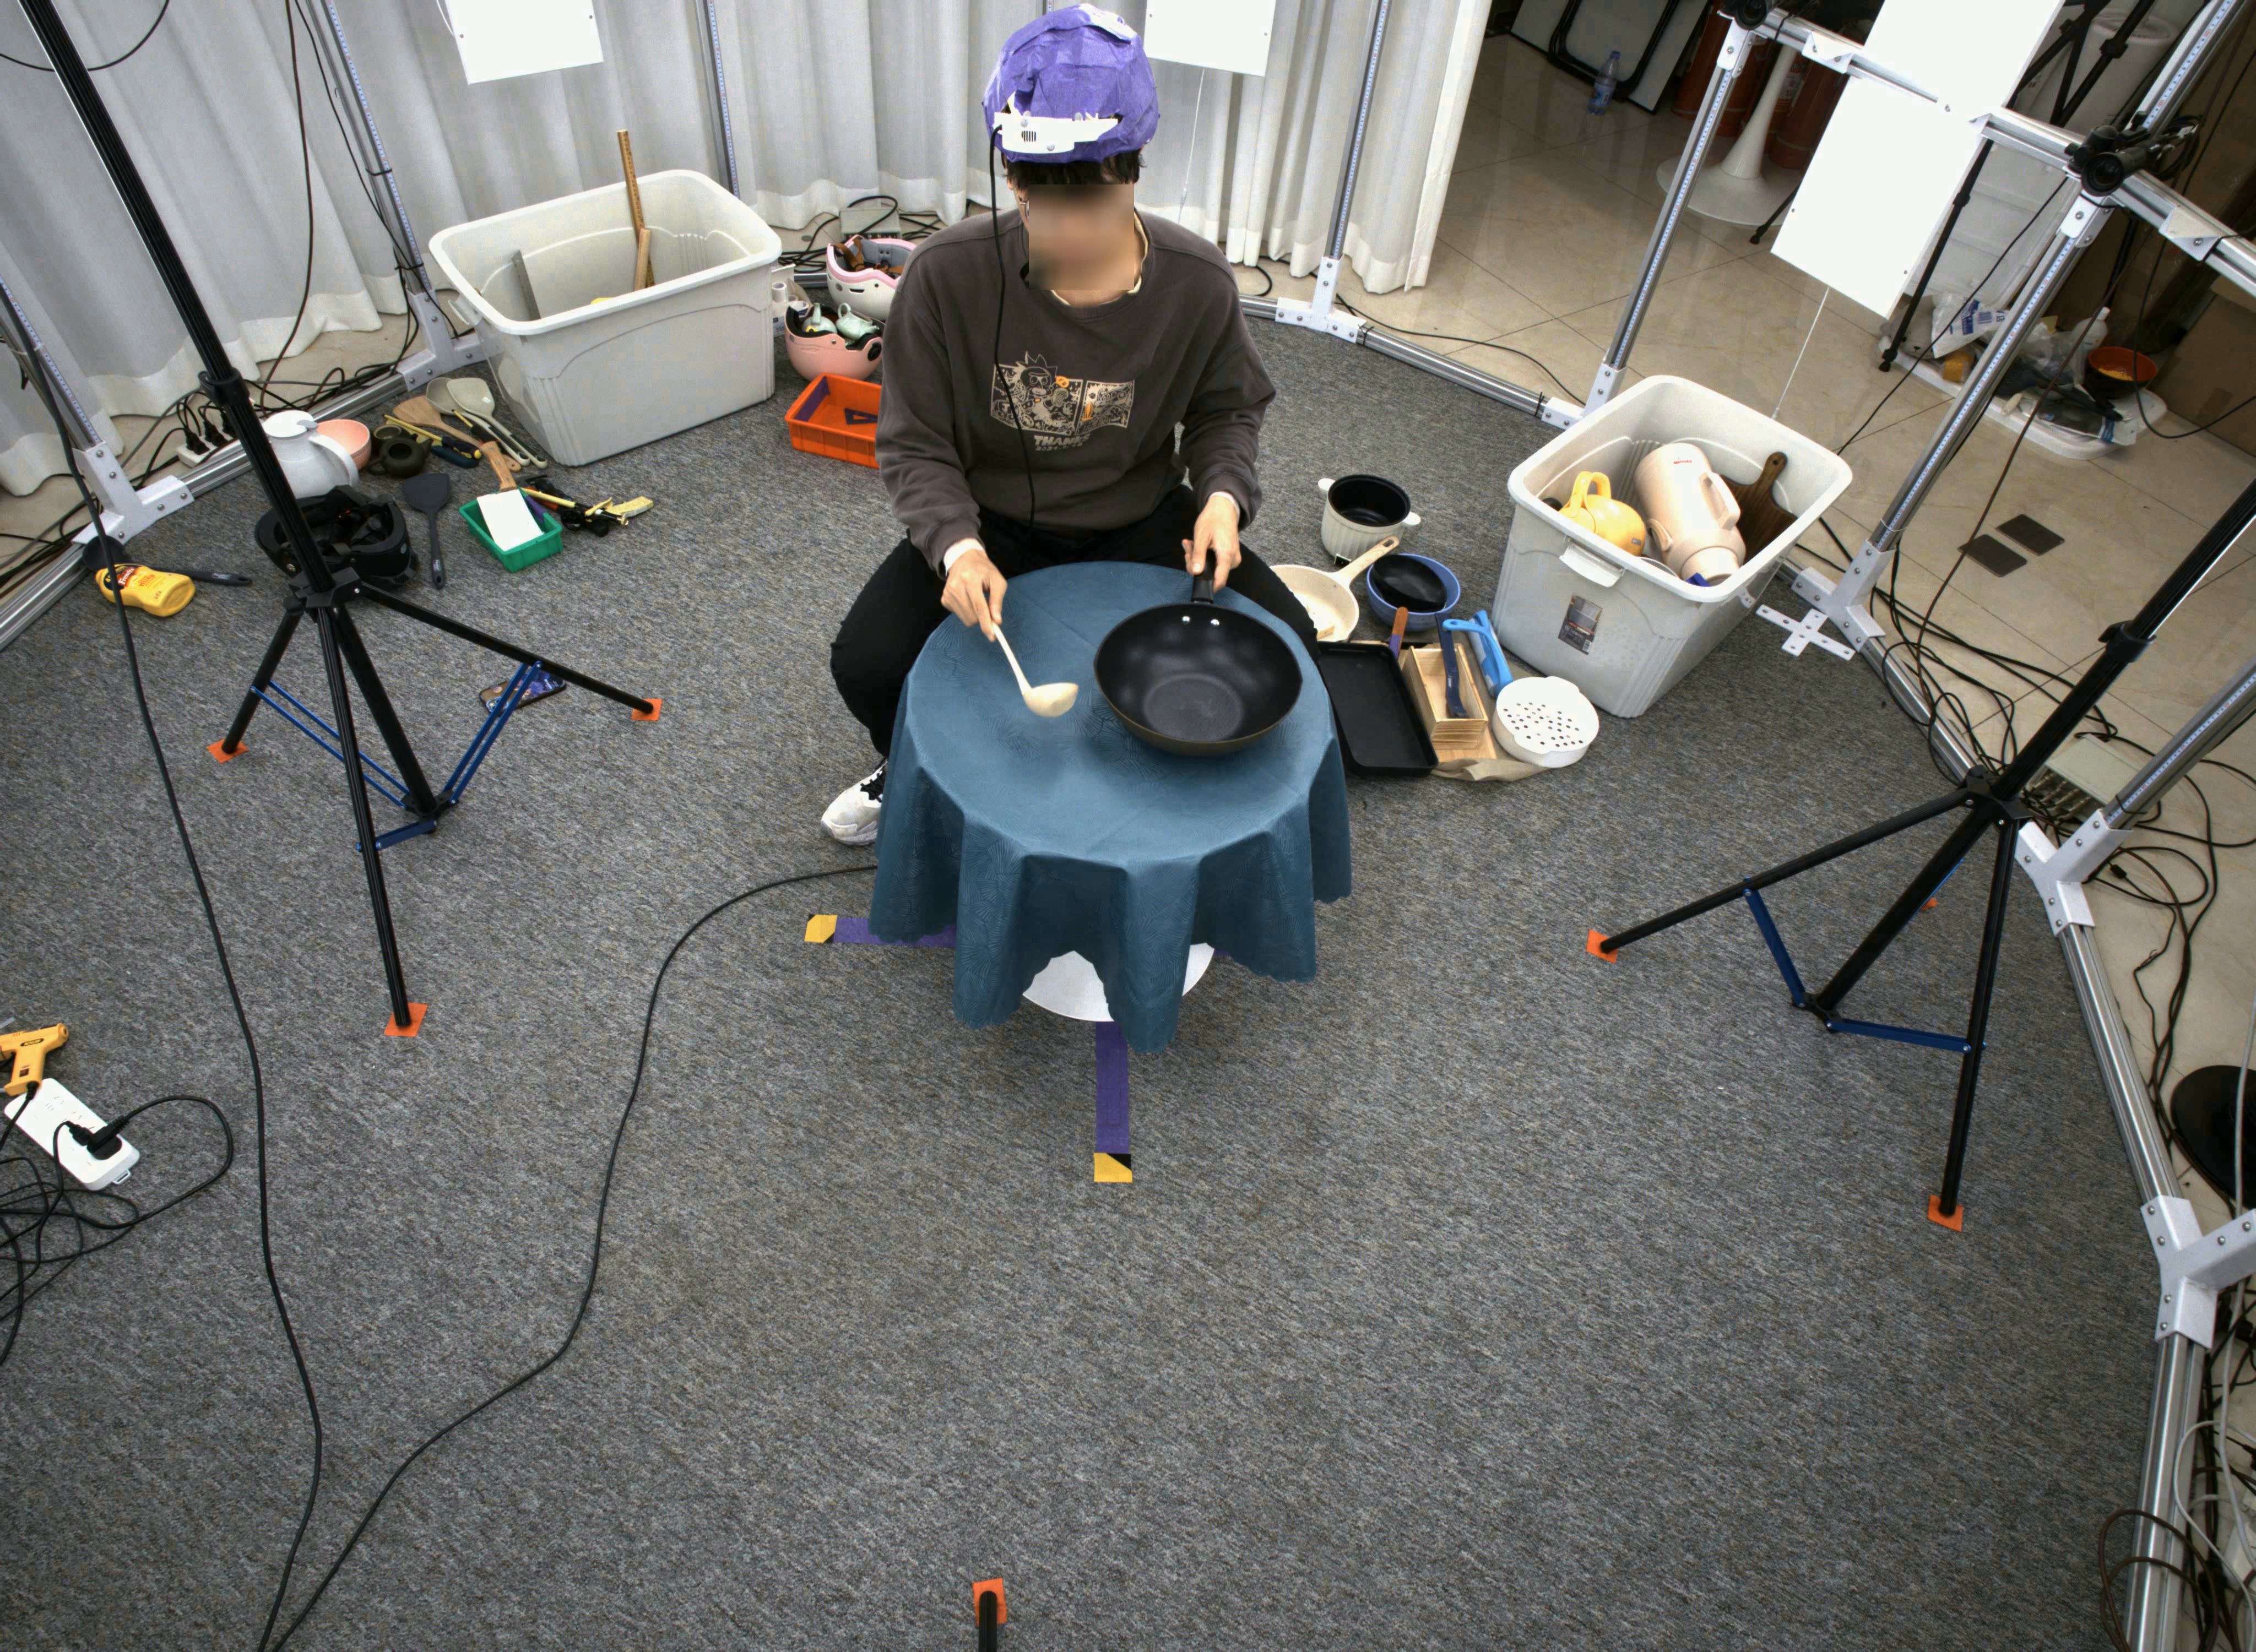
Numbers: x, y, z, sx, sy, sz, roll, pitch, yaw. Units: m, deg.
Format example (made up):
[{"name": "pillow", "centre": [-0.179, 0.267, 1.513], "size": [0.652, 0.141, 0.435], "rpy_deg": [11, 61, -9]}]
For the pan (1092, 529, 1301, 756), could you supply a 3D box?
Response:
[{"name": "pan", "centre": [0.099, -0.259, 1.844], "size": [0.288, 0.085, 0.475], "rpy_deg": [5, 48, 1]}]

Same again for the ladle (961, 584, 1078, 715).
[{"name": "ladle", "centre": [-0.150, -0.260, 1.743], "size": [0.072, 0.072, 0.259], "rpy_deg": [-2, 53, -49]}]
